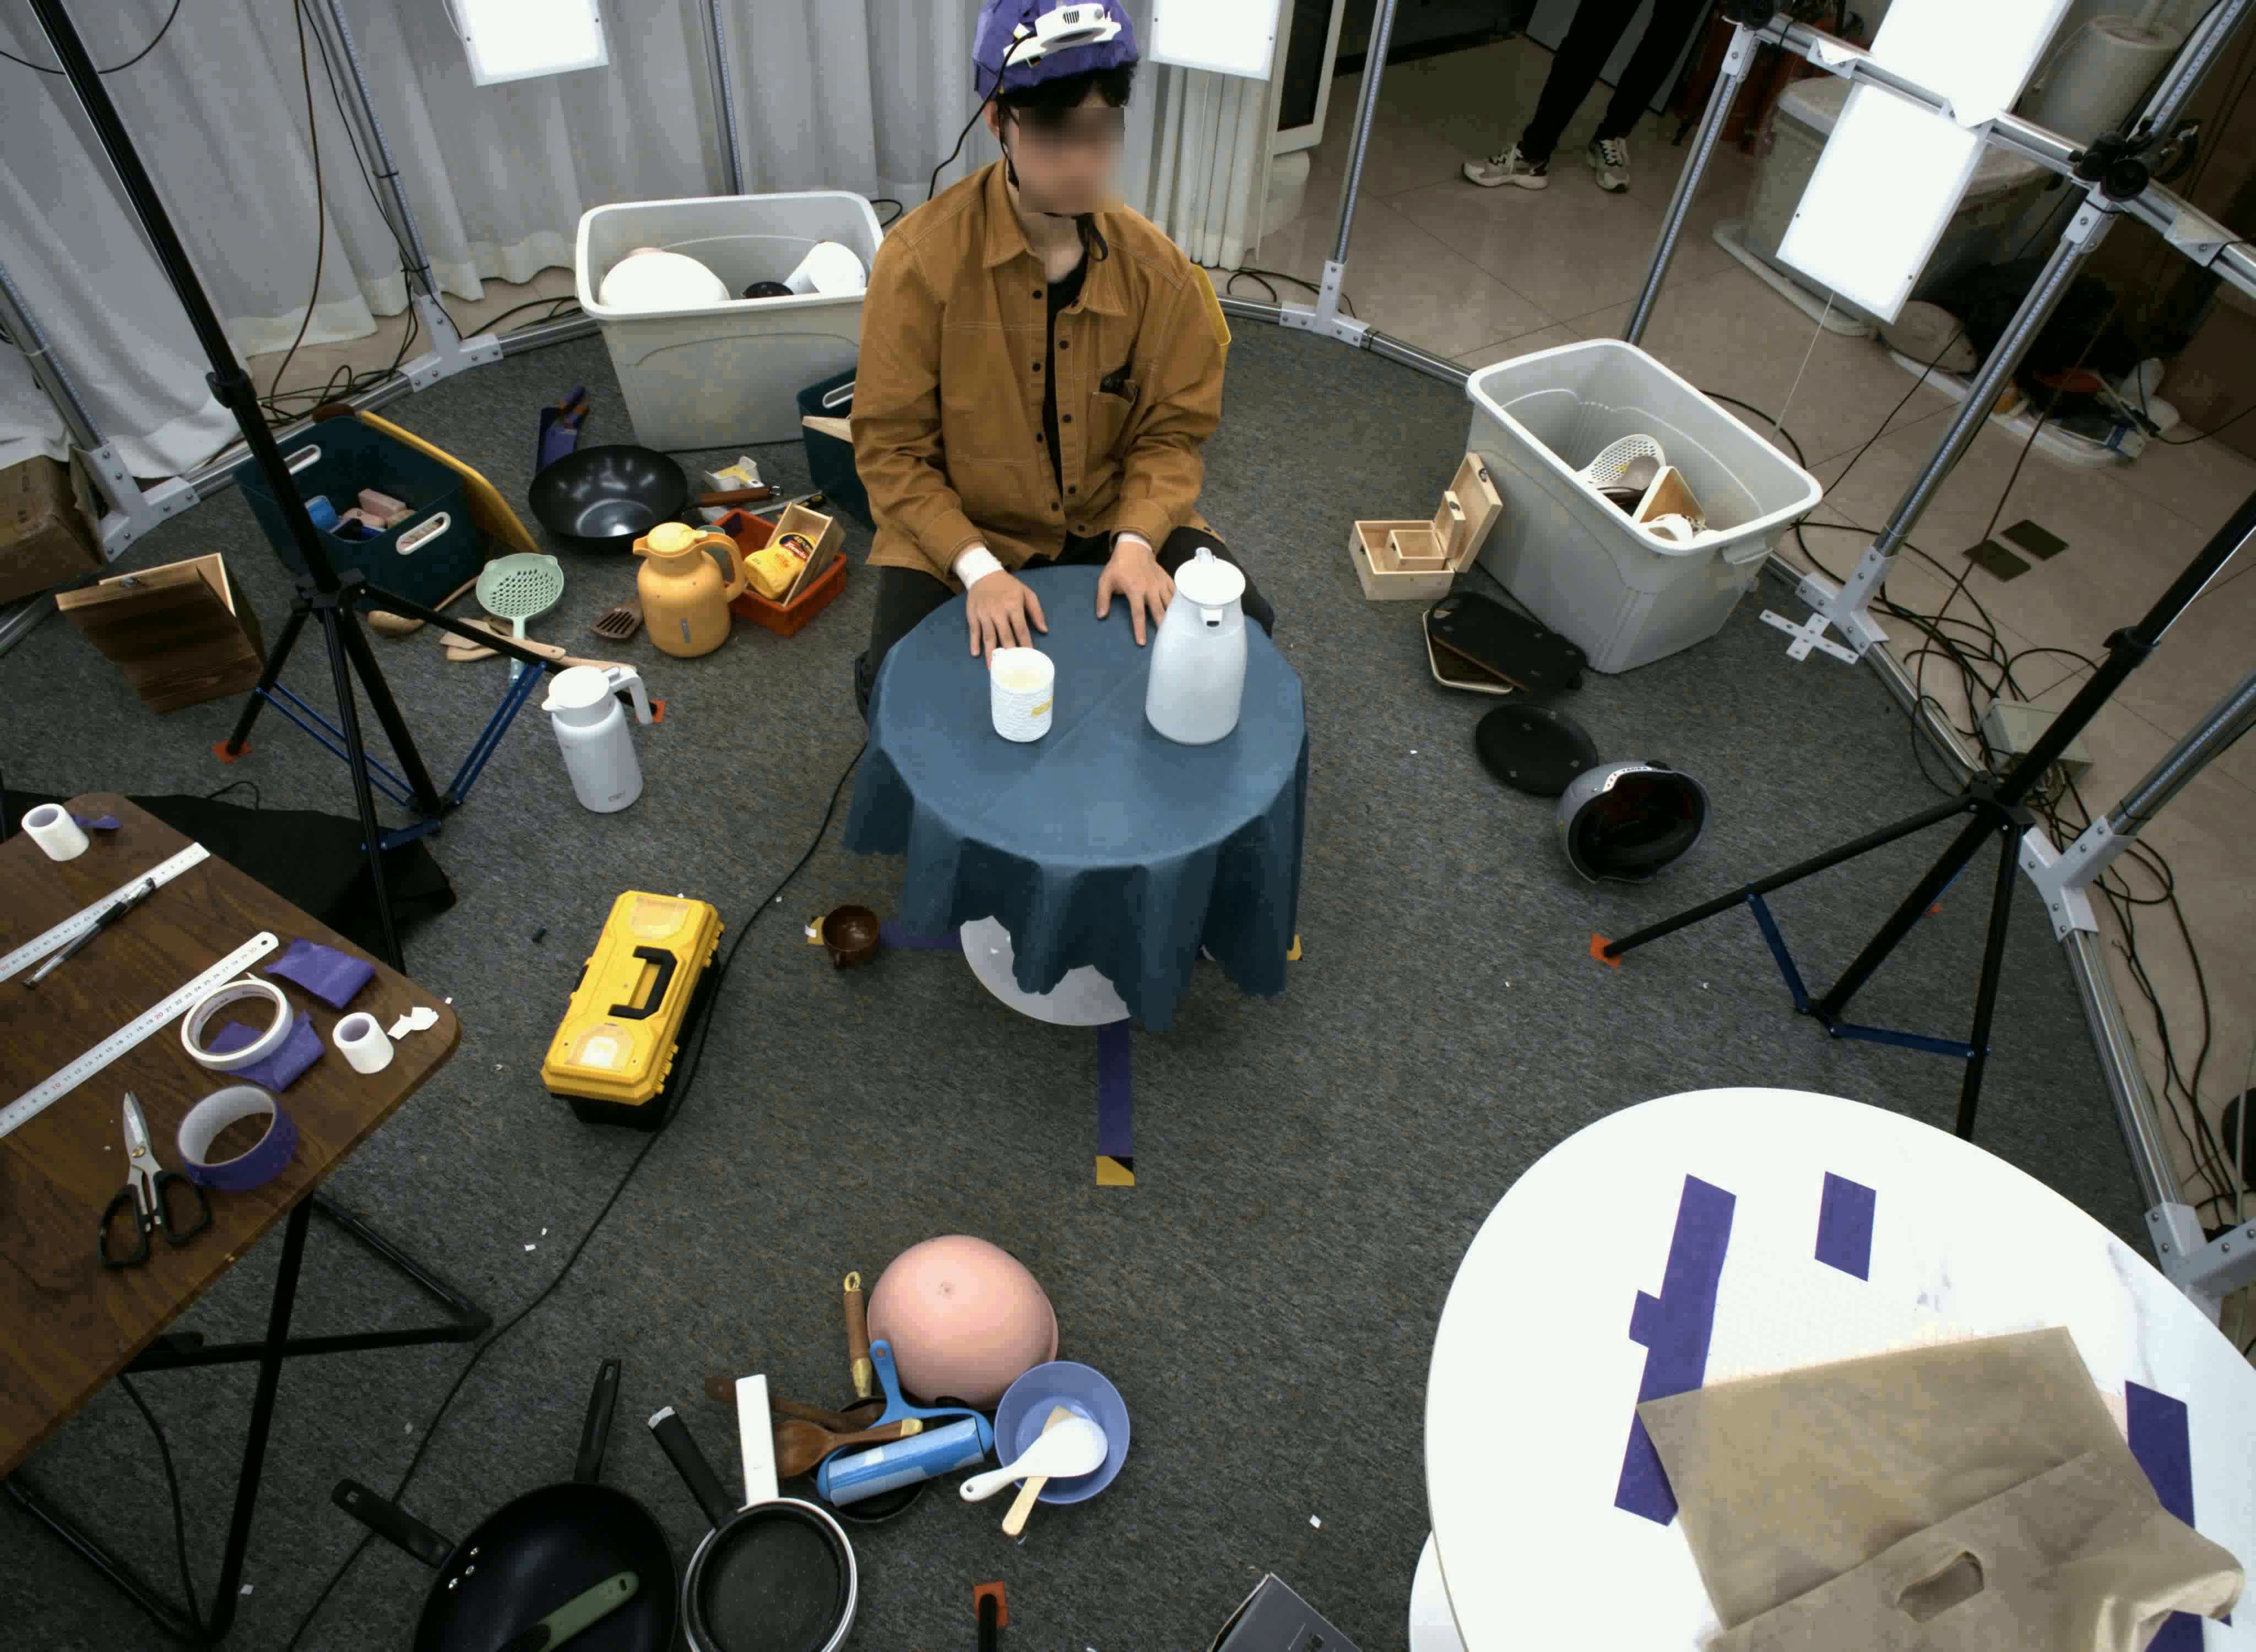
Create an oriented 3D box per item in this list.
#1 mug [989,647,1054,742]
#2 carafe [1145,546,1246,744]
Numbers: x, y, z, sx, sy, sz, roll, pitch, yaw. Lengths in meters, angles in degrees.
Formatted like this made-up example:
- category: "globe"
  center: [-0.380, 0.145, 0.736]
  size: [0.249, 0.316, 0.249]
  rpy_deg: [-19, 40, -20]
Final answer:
- category: "mug"
  center: [-0.153, -0.188, 1.756]
  size: [0.085, 0.099, 0.120]
  rpy_deg: [-24, 55, -22]
- category: "carafe"
  center: [0.094, -0.255, 1.736]
  size: [0.132, 0.242, 0.172]
  rpy_deg: [-2, 49, -5]
